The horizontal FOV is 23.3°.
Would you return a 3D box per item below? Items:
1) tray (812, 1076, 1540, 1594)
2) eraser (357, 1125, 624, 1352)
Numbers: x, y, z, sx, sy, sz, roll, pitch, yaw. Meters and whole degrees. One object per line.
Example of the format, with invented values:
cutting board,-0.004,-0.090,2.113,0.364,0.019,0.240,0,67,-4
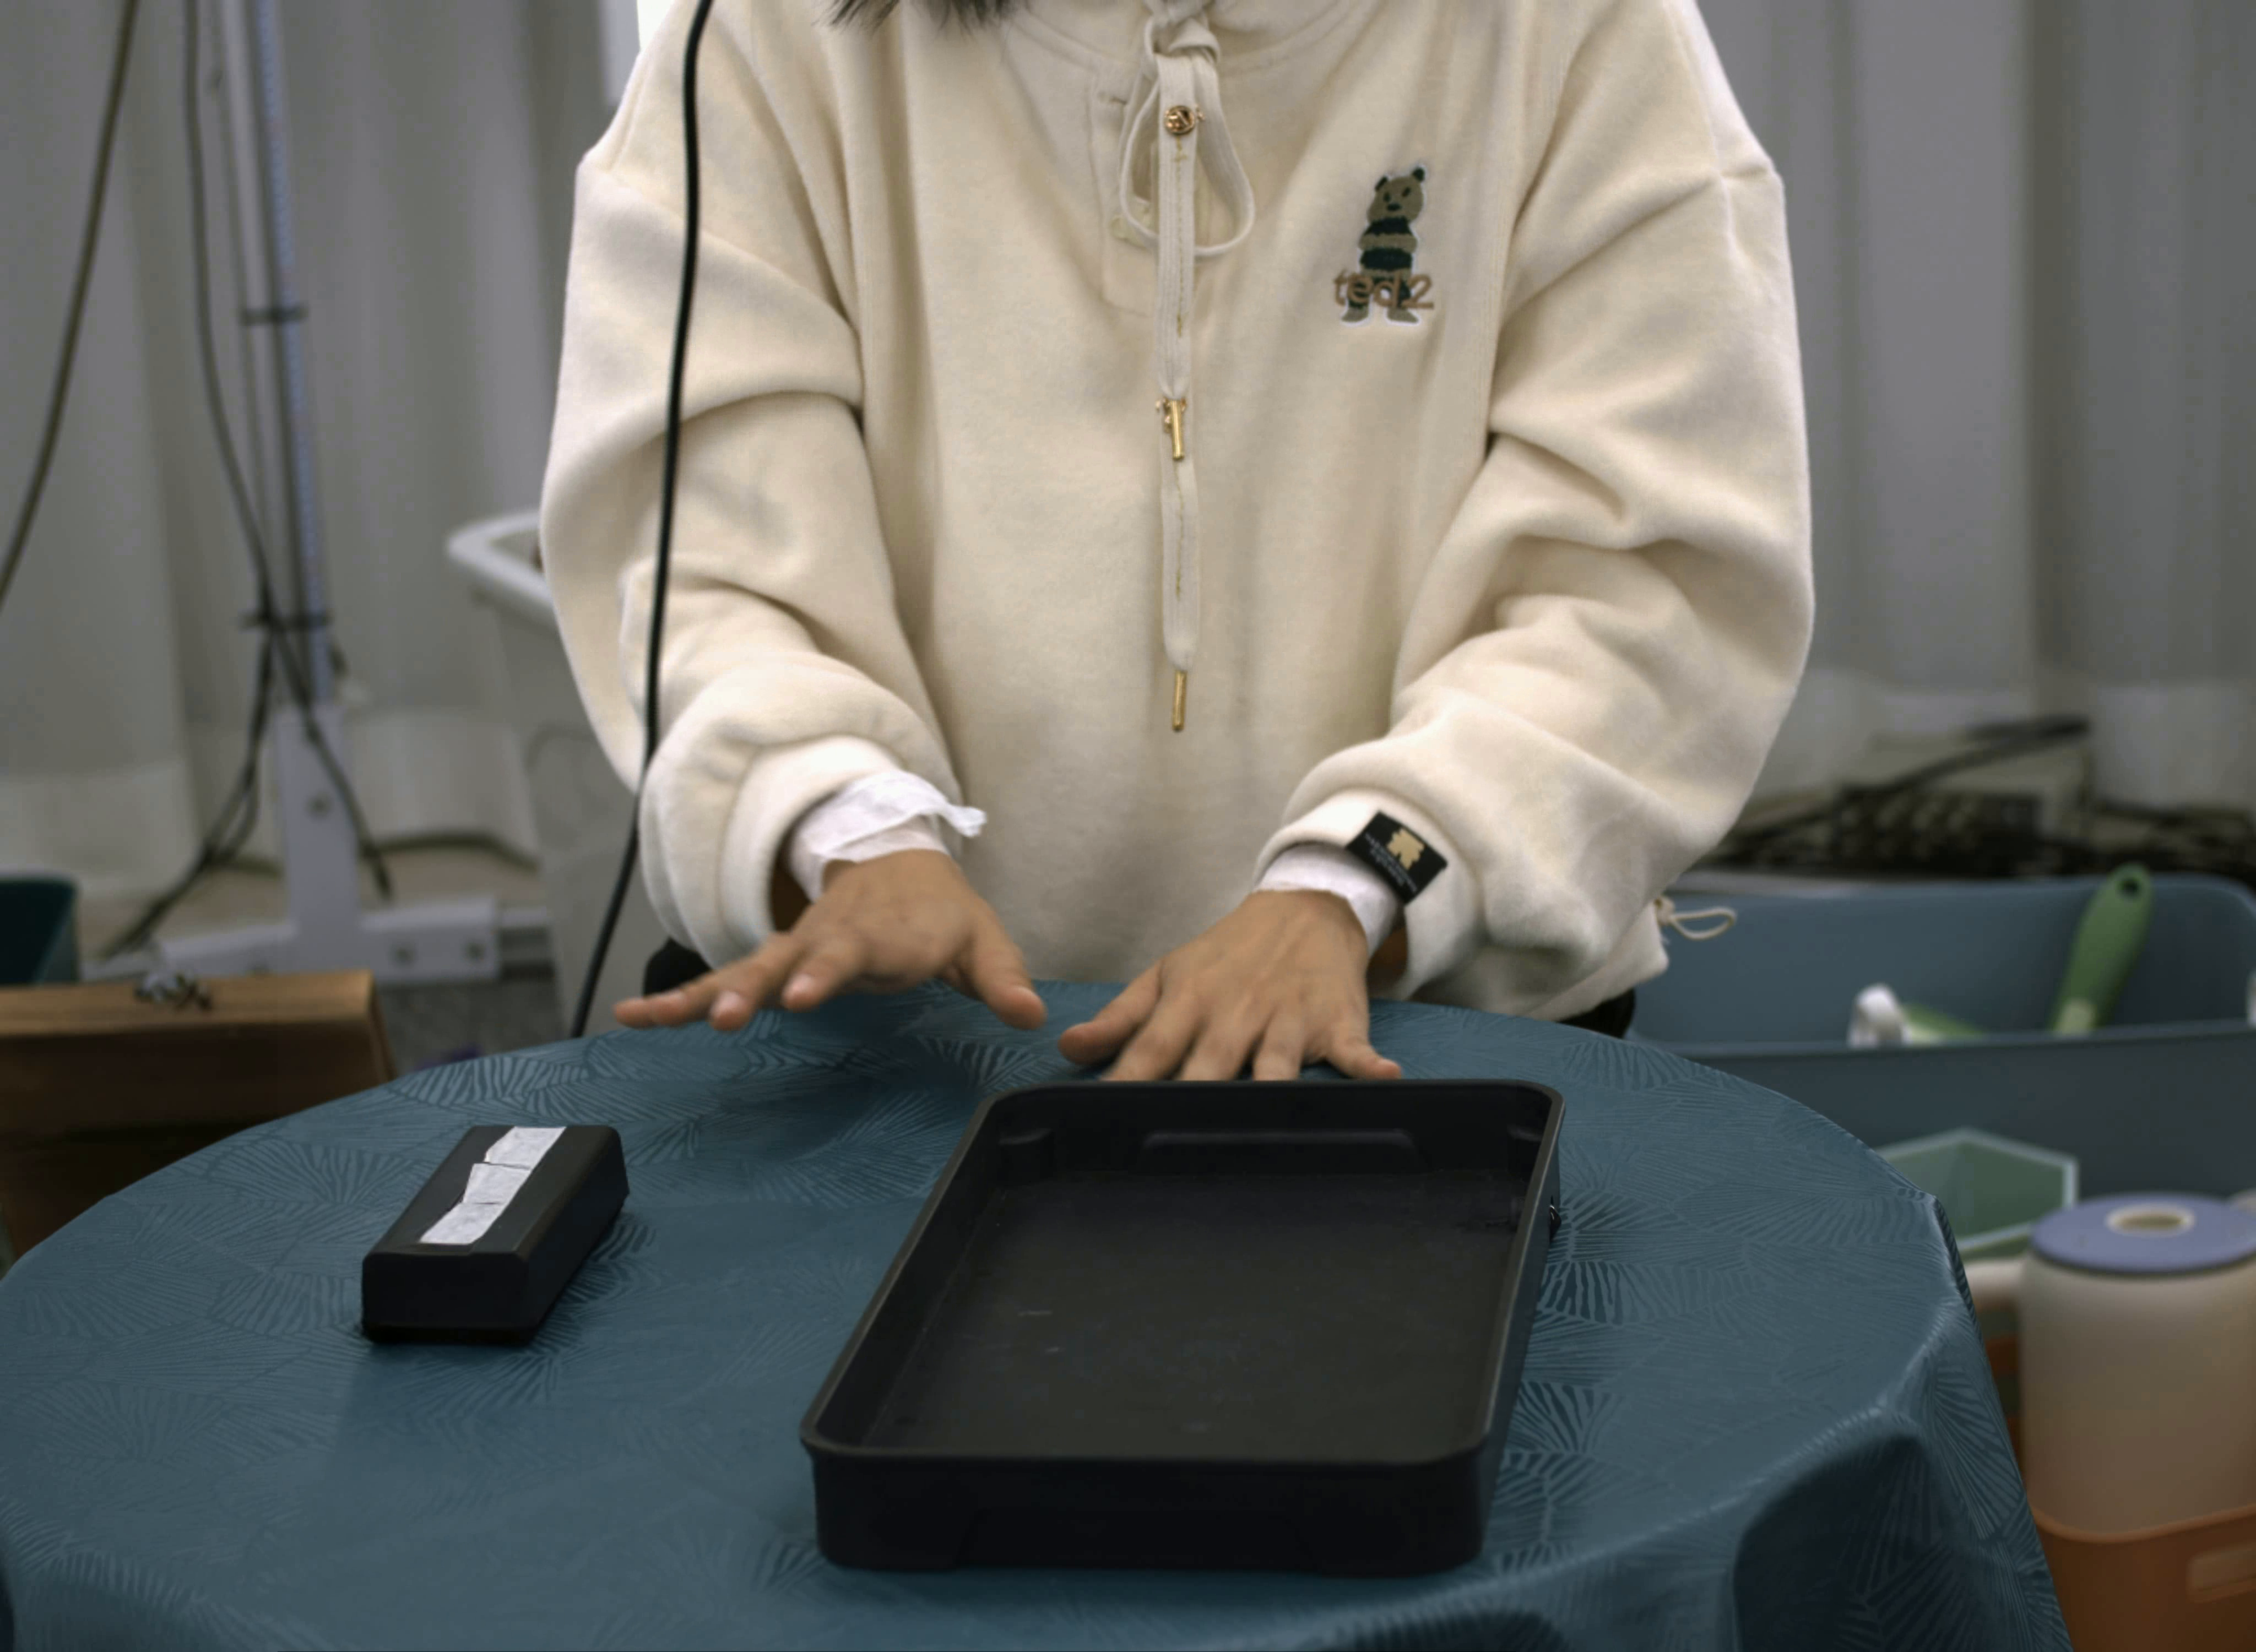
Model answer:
tray,0.022,0.138,1.547,0.184,0.037,0.320,-1,15,6
eraser,-0.192,0.124,1.661,0.053,0.030,0.126,3,15,7
